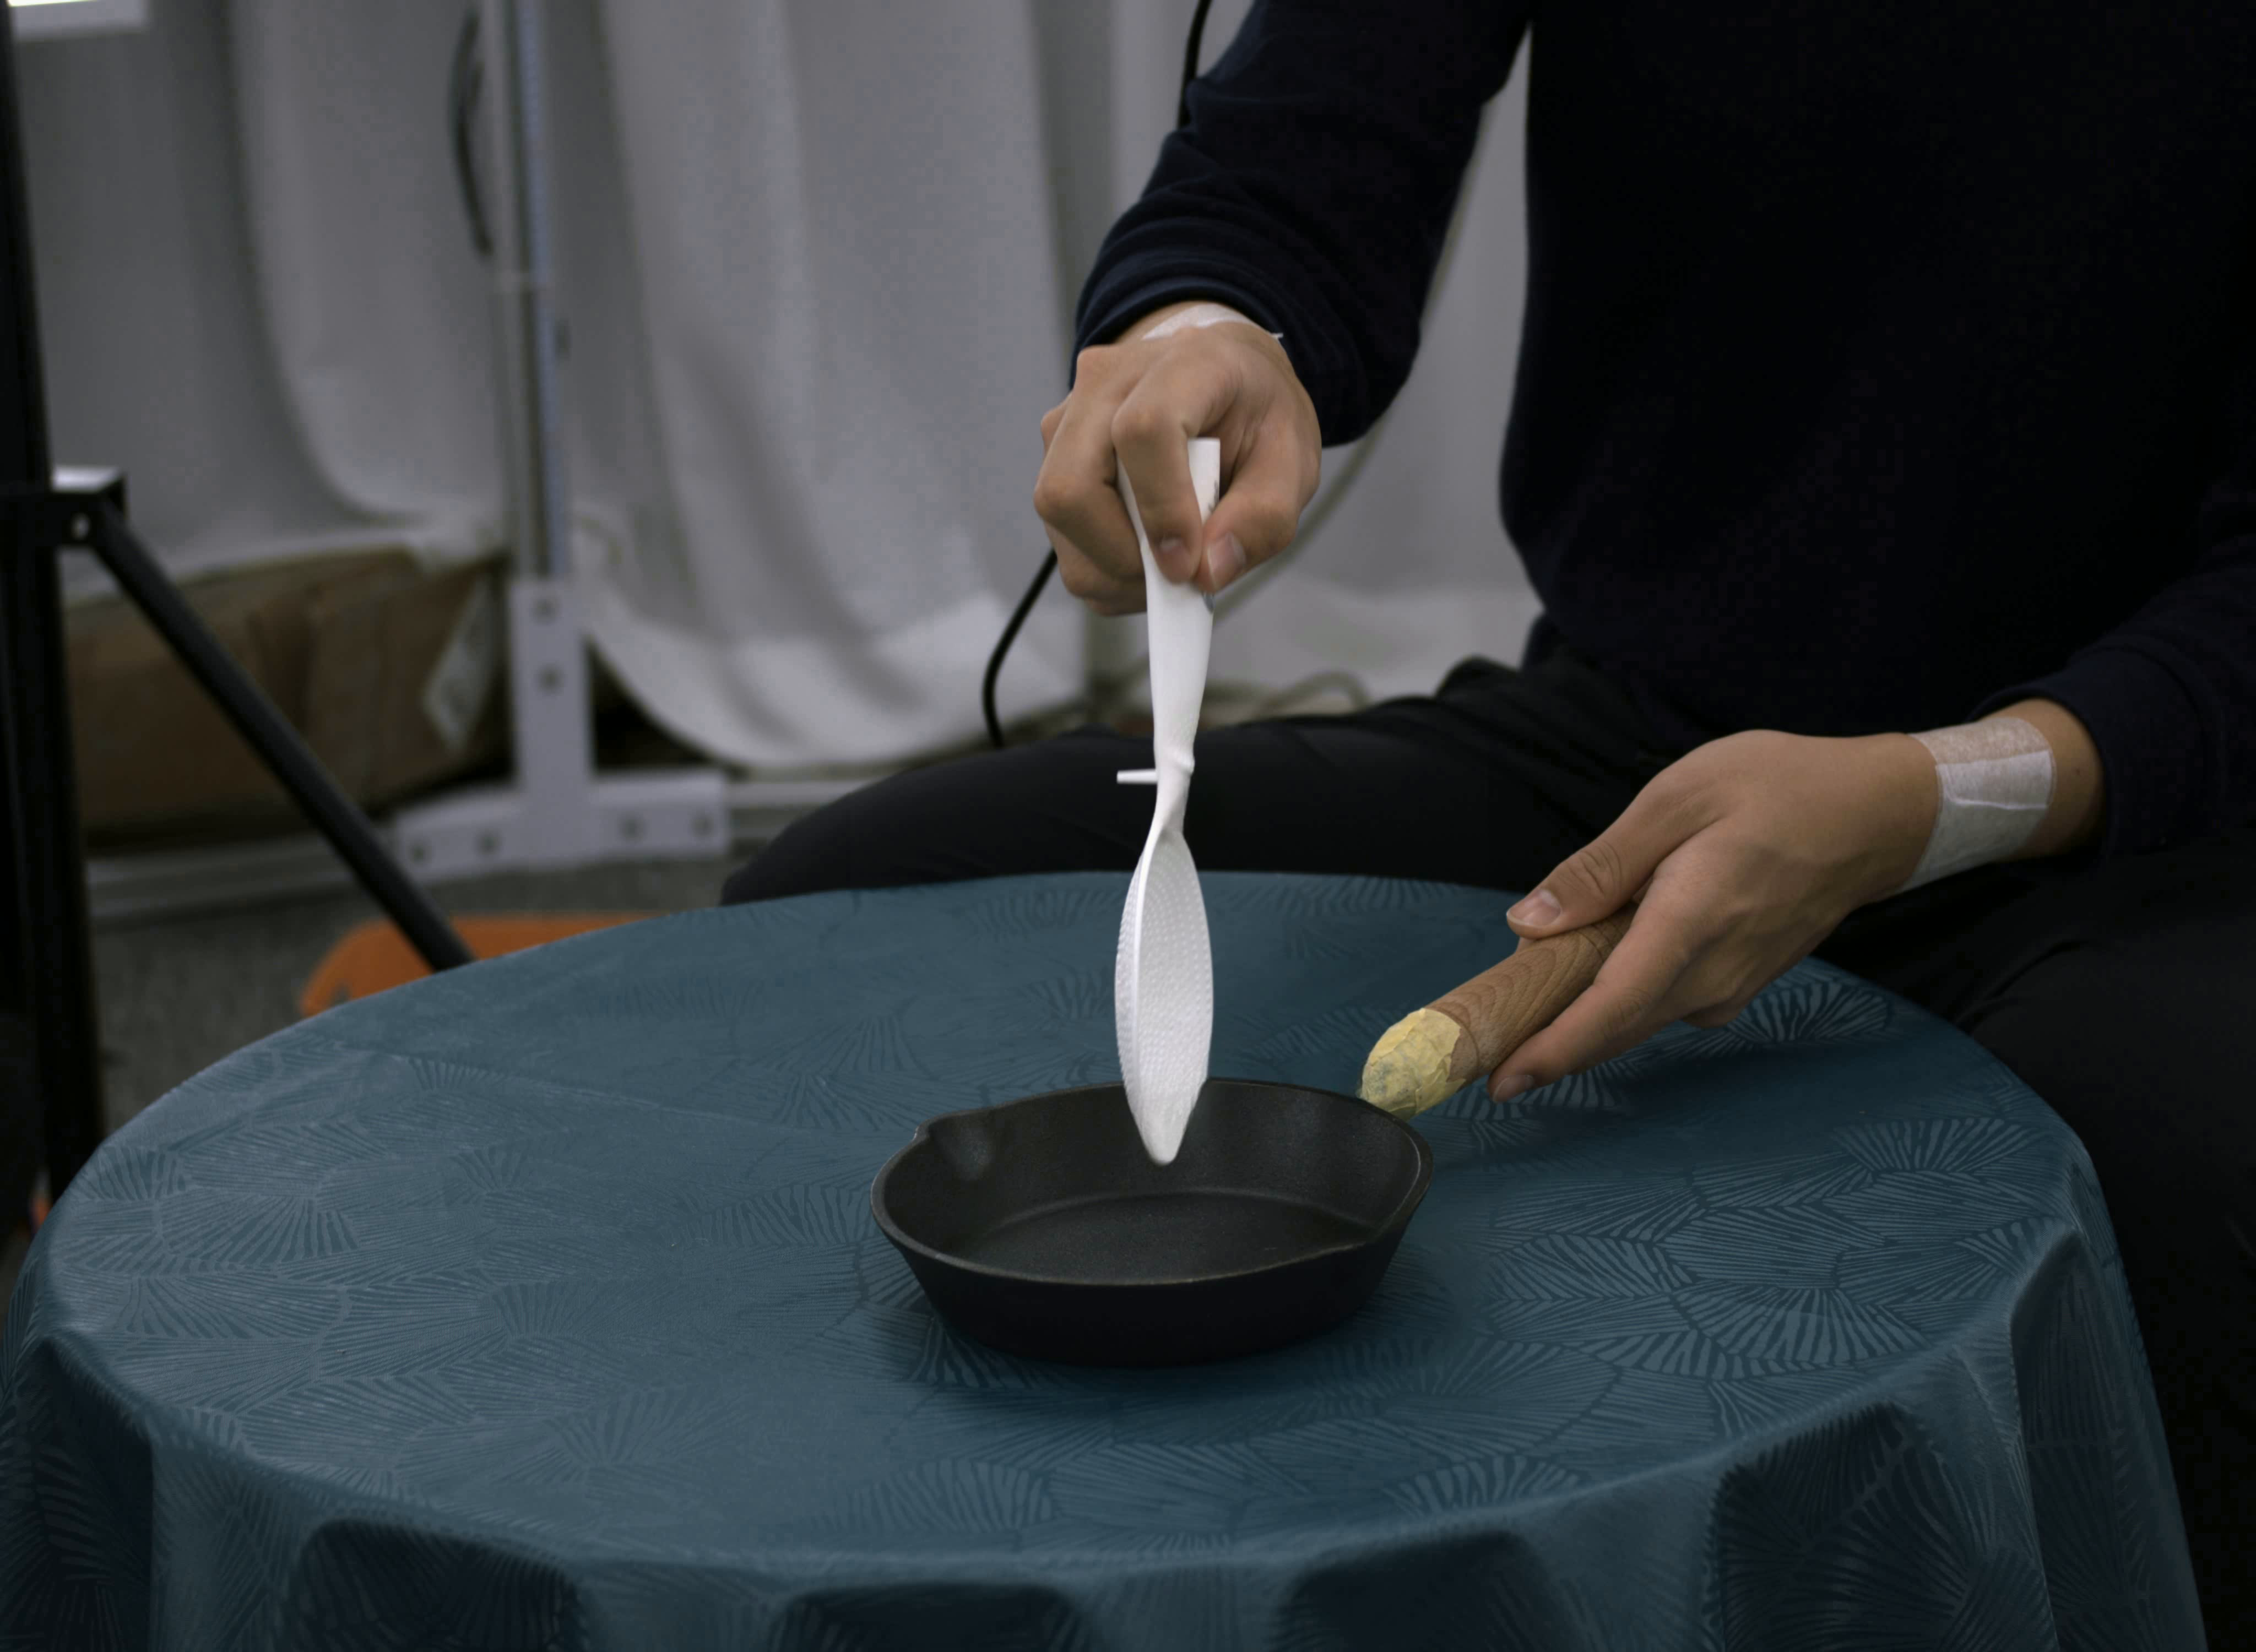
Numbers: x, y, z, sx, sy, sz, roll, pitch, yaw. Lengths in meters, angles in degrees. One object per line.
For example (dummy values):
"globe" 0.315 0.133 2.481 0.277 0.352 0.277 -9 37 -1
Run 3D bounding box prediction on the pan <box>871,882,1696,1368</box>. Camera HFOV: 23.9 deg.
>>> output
"pan" 0.065 0.082 1.529 0.173 0.049 0.317 13 25 43

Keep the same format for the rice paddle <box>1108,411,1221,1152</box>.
"rice paddle" 0.014 -0.012 1.482 0.030 0.206 0.067 -1 2 20
